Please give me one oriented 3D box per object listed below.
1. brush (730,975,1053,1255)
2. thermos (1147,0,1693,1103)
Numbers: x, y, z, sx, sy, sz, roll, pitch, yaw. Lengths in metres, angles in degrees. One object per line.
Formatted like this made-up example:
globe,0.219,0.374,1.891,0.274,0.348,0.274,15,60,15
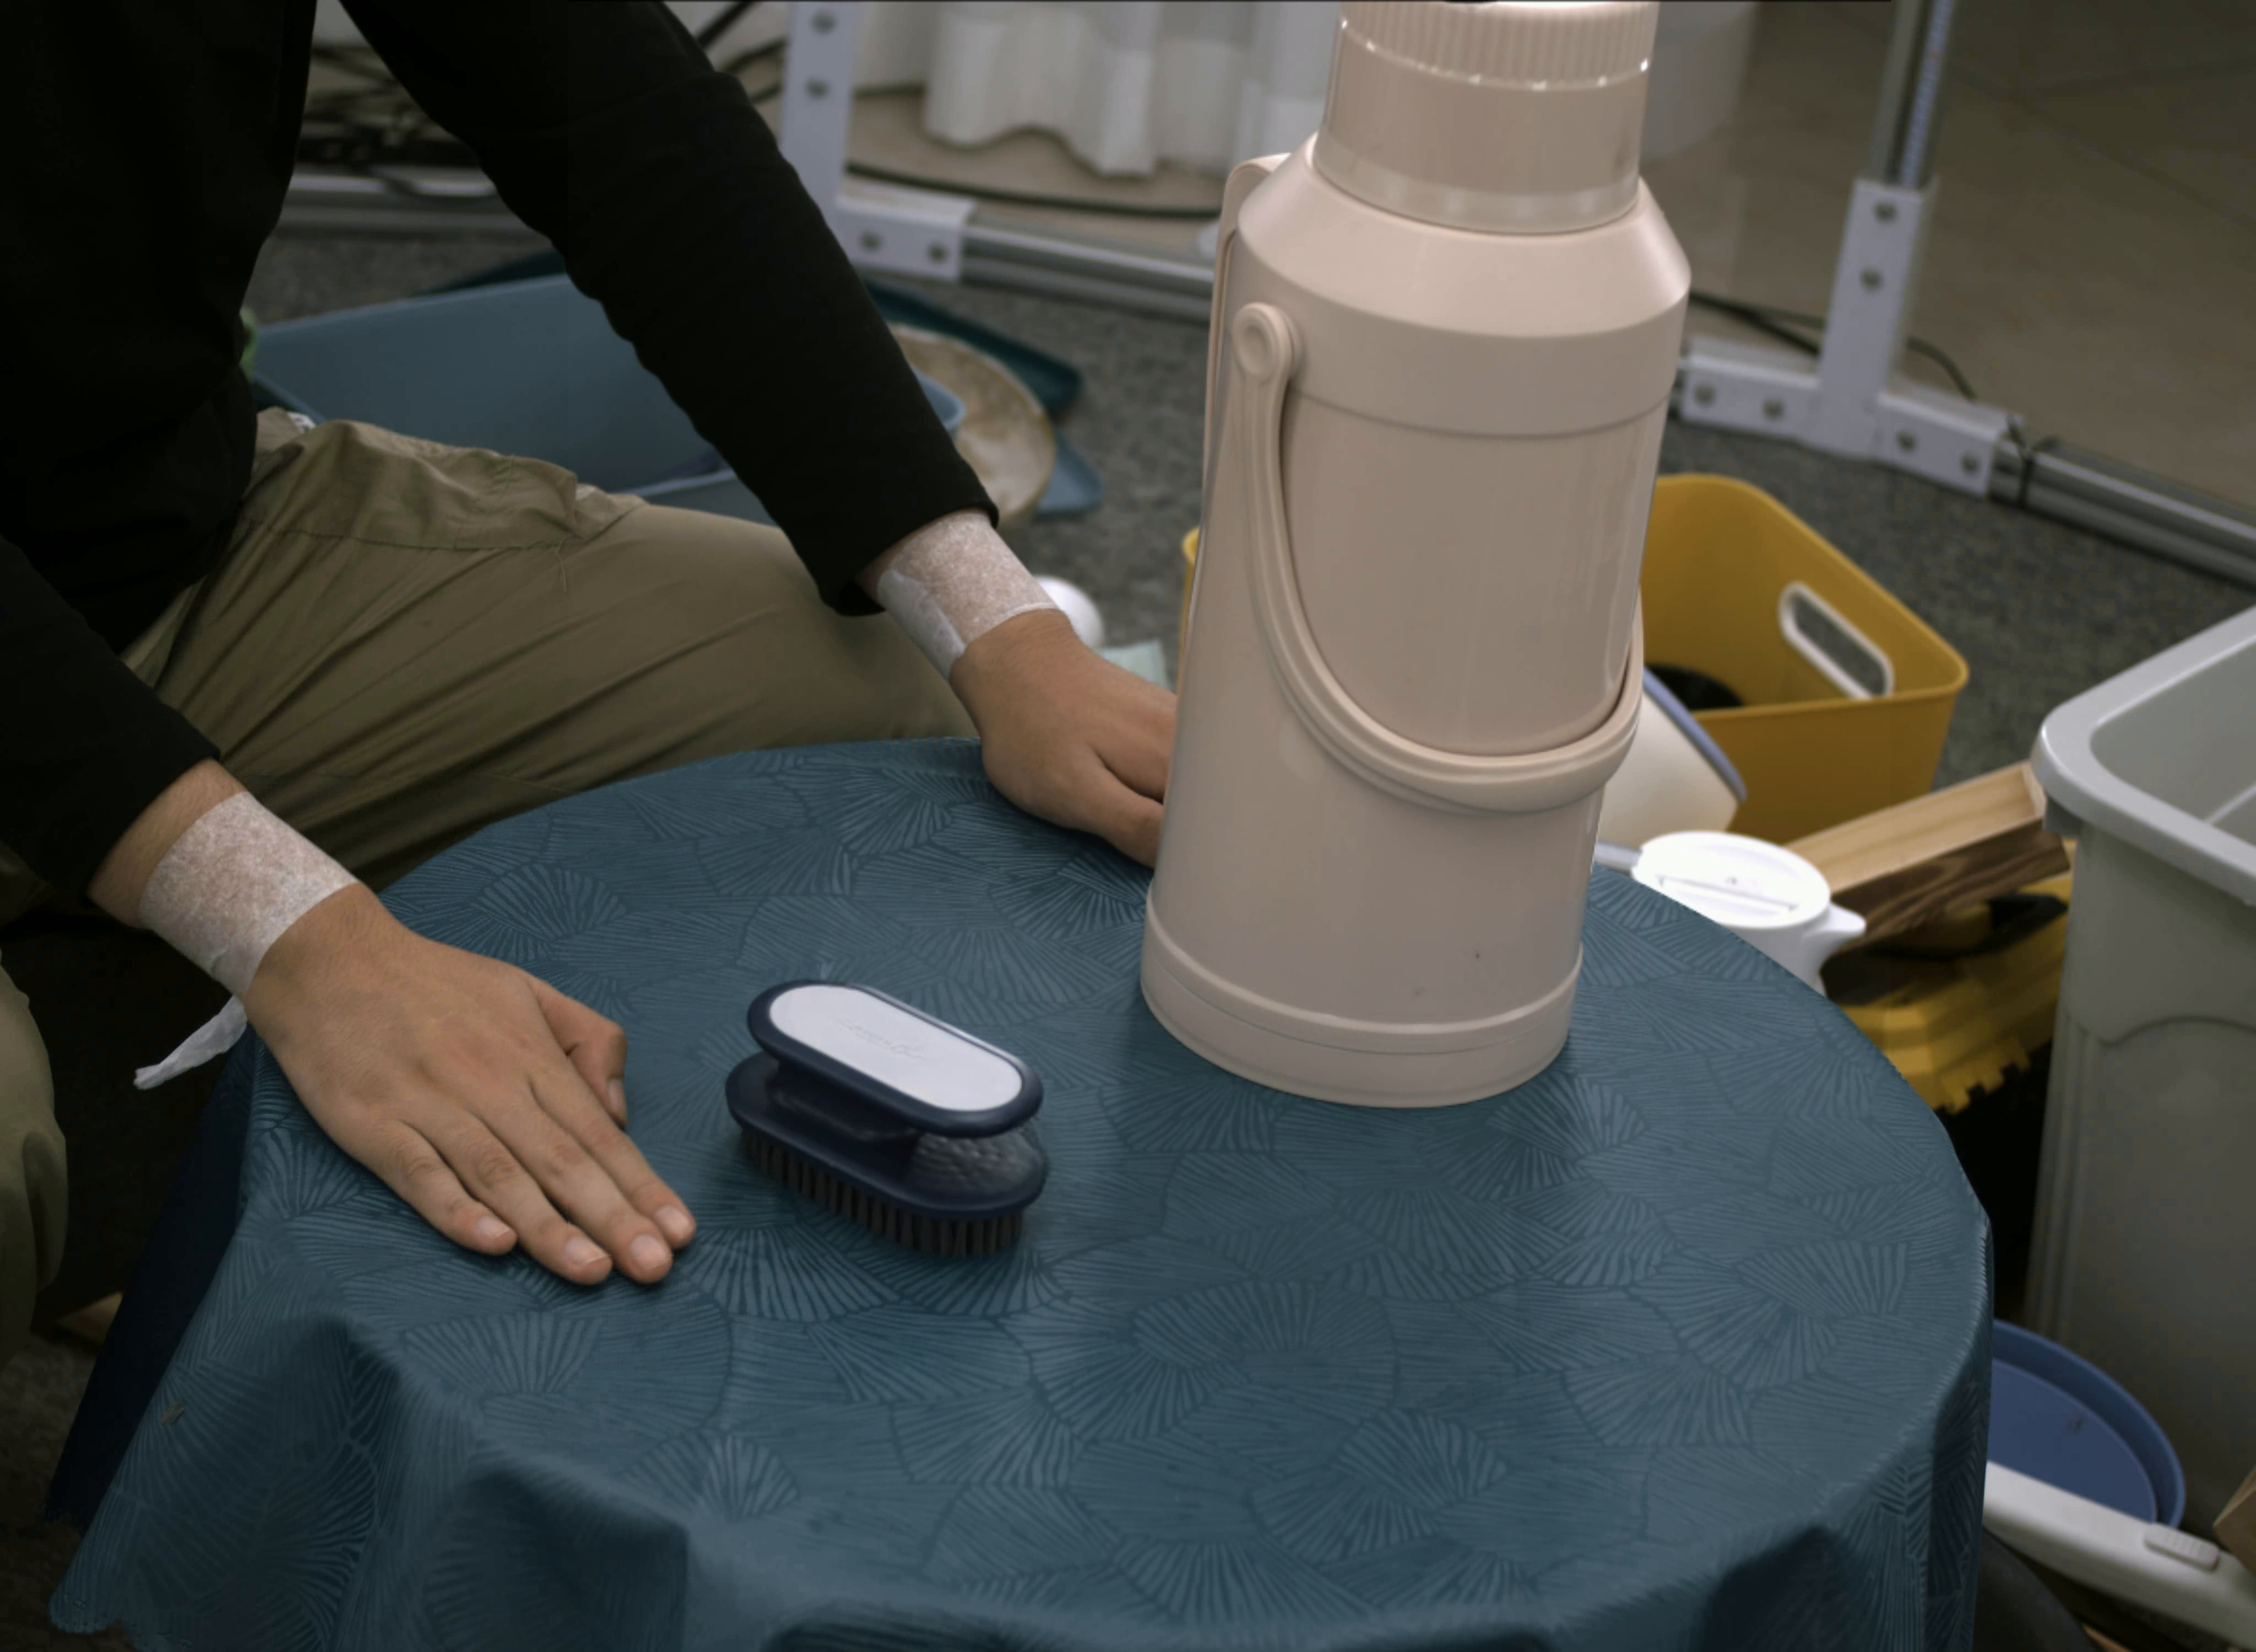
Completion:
brush,-0.079,0.098,1.774,0.122,0.061,0.067,25,29,32
thermos,0.097,-0.119,1.864,0.174,0.405,0.209,-15,34,-34
